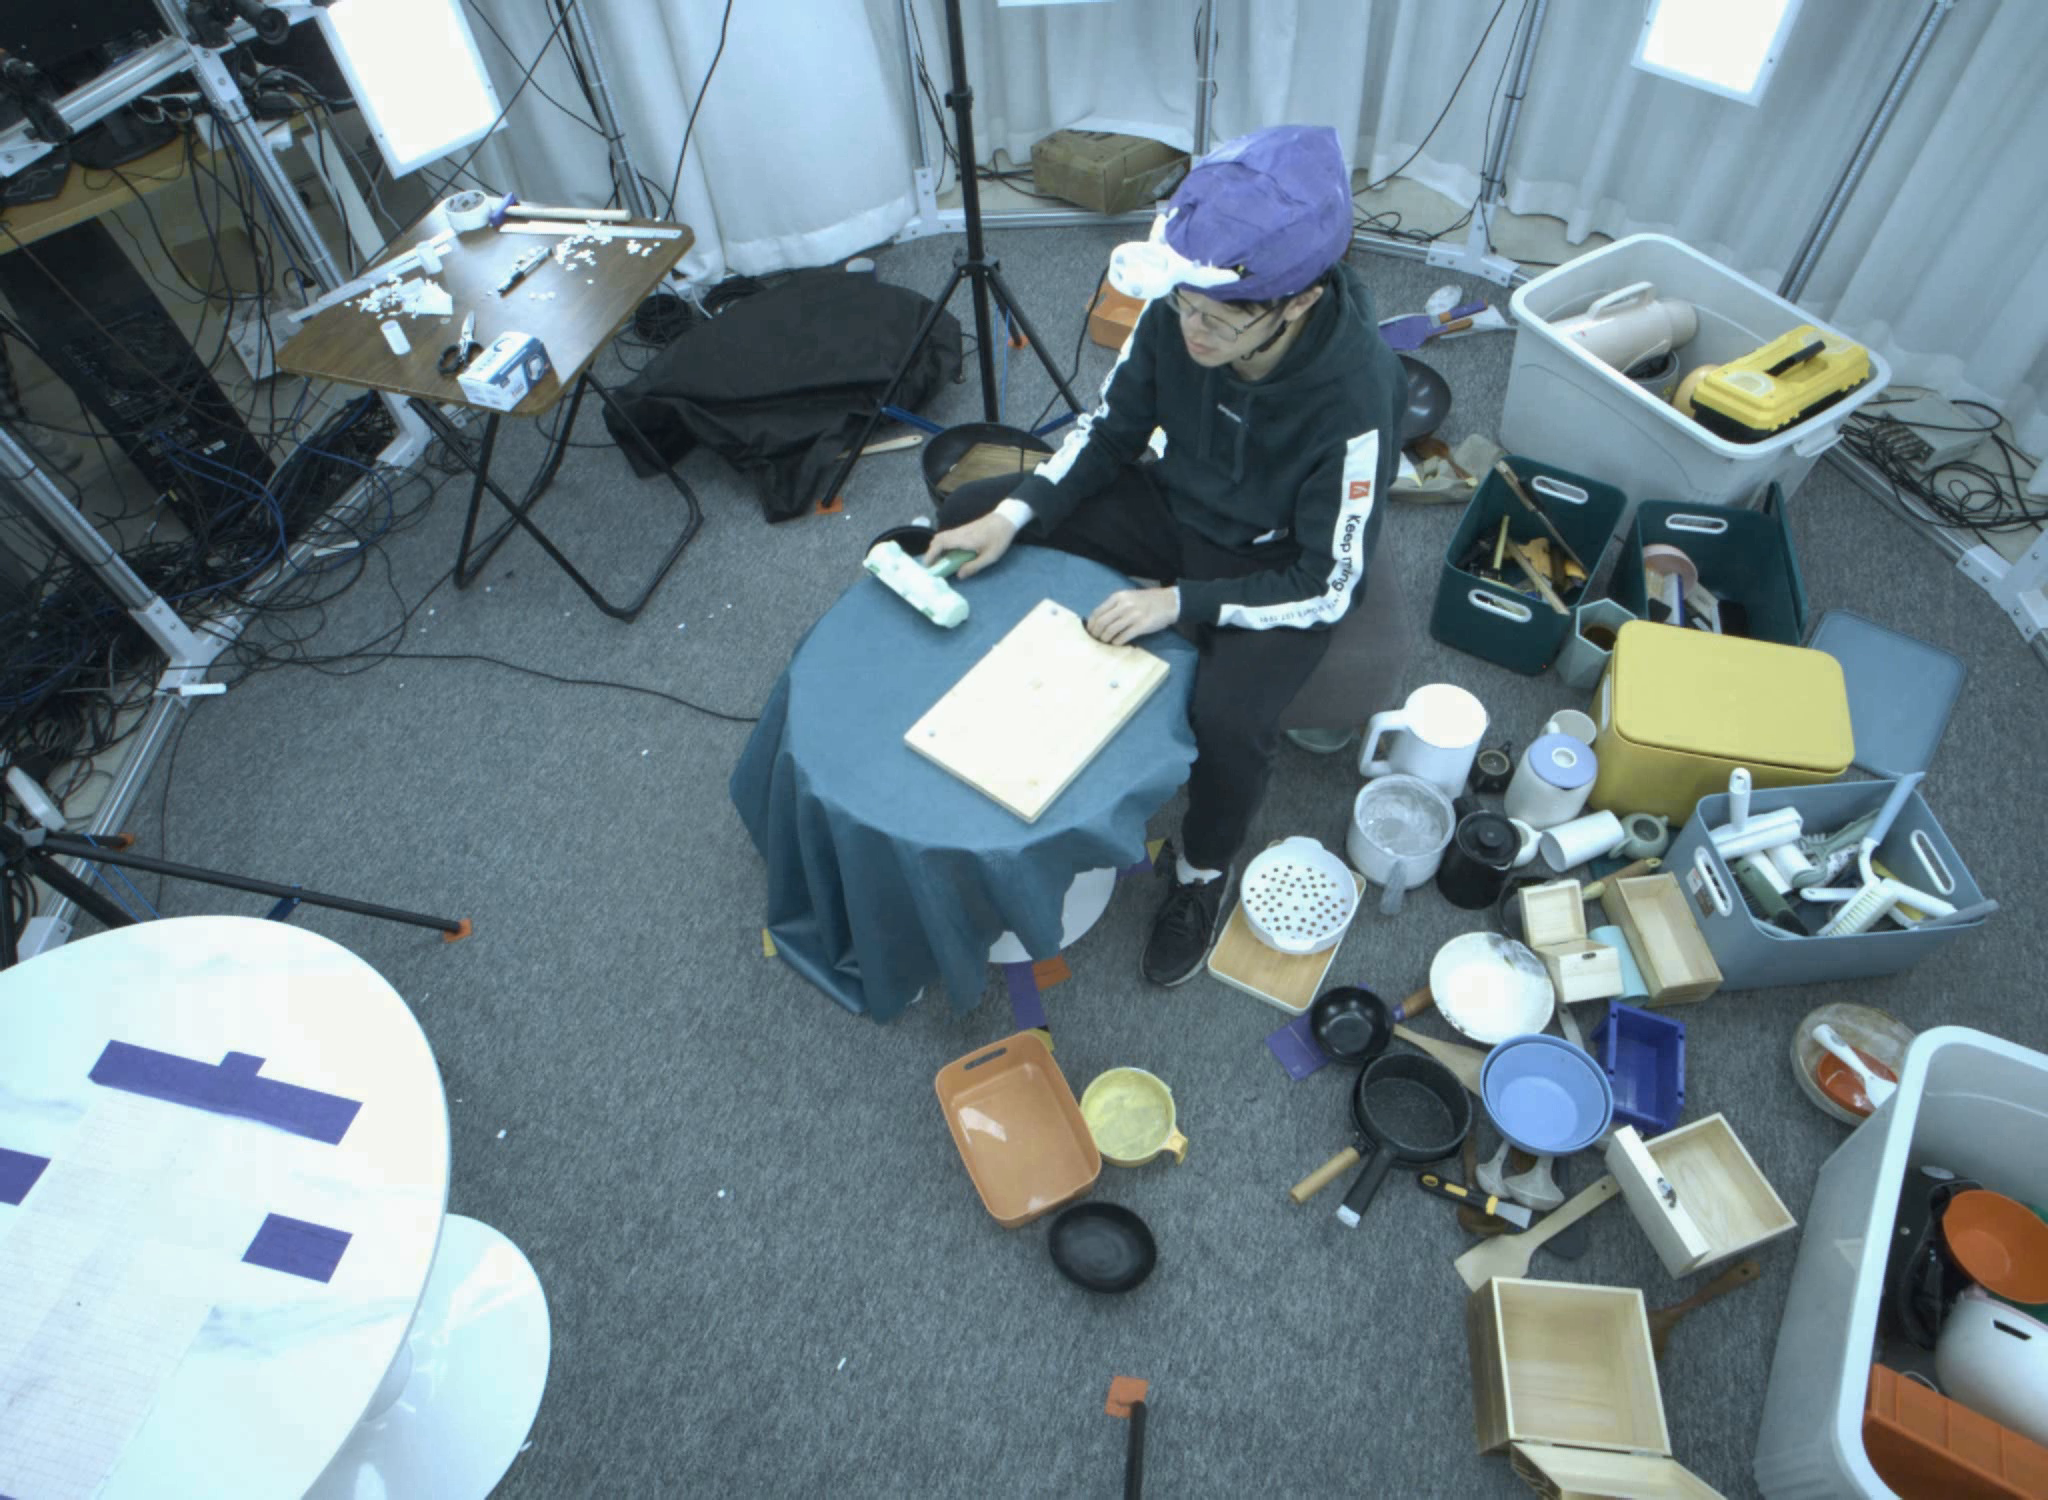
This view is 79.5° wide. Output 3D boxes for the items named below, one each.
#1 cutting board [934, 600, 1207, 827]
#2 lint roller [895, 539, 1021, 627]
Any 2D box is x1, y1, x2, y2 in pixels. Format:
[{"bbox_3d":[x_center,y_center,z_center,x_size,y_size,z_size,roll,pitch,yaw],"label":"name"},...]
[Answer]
[{"bbox_3d":[0.069,-0.064,1.816,0.246,0.024,0.350,33,62,22],"label":"cutting board"},{"bbox_3d":[-0.080,-0.301,1.951,0.184,0.083,0.195,-40,62,-17],"label":"lint roller"}]
